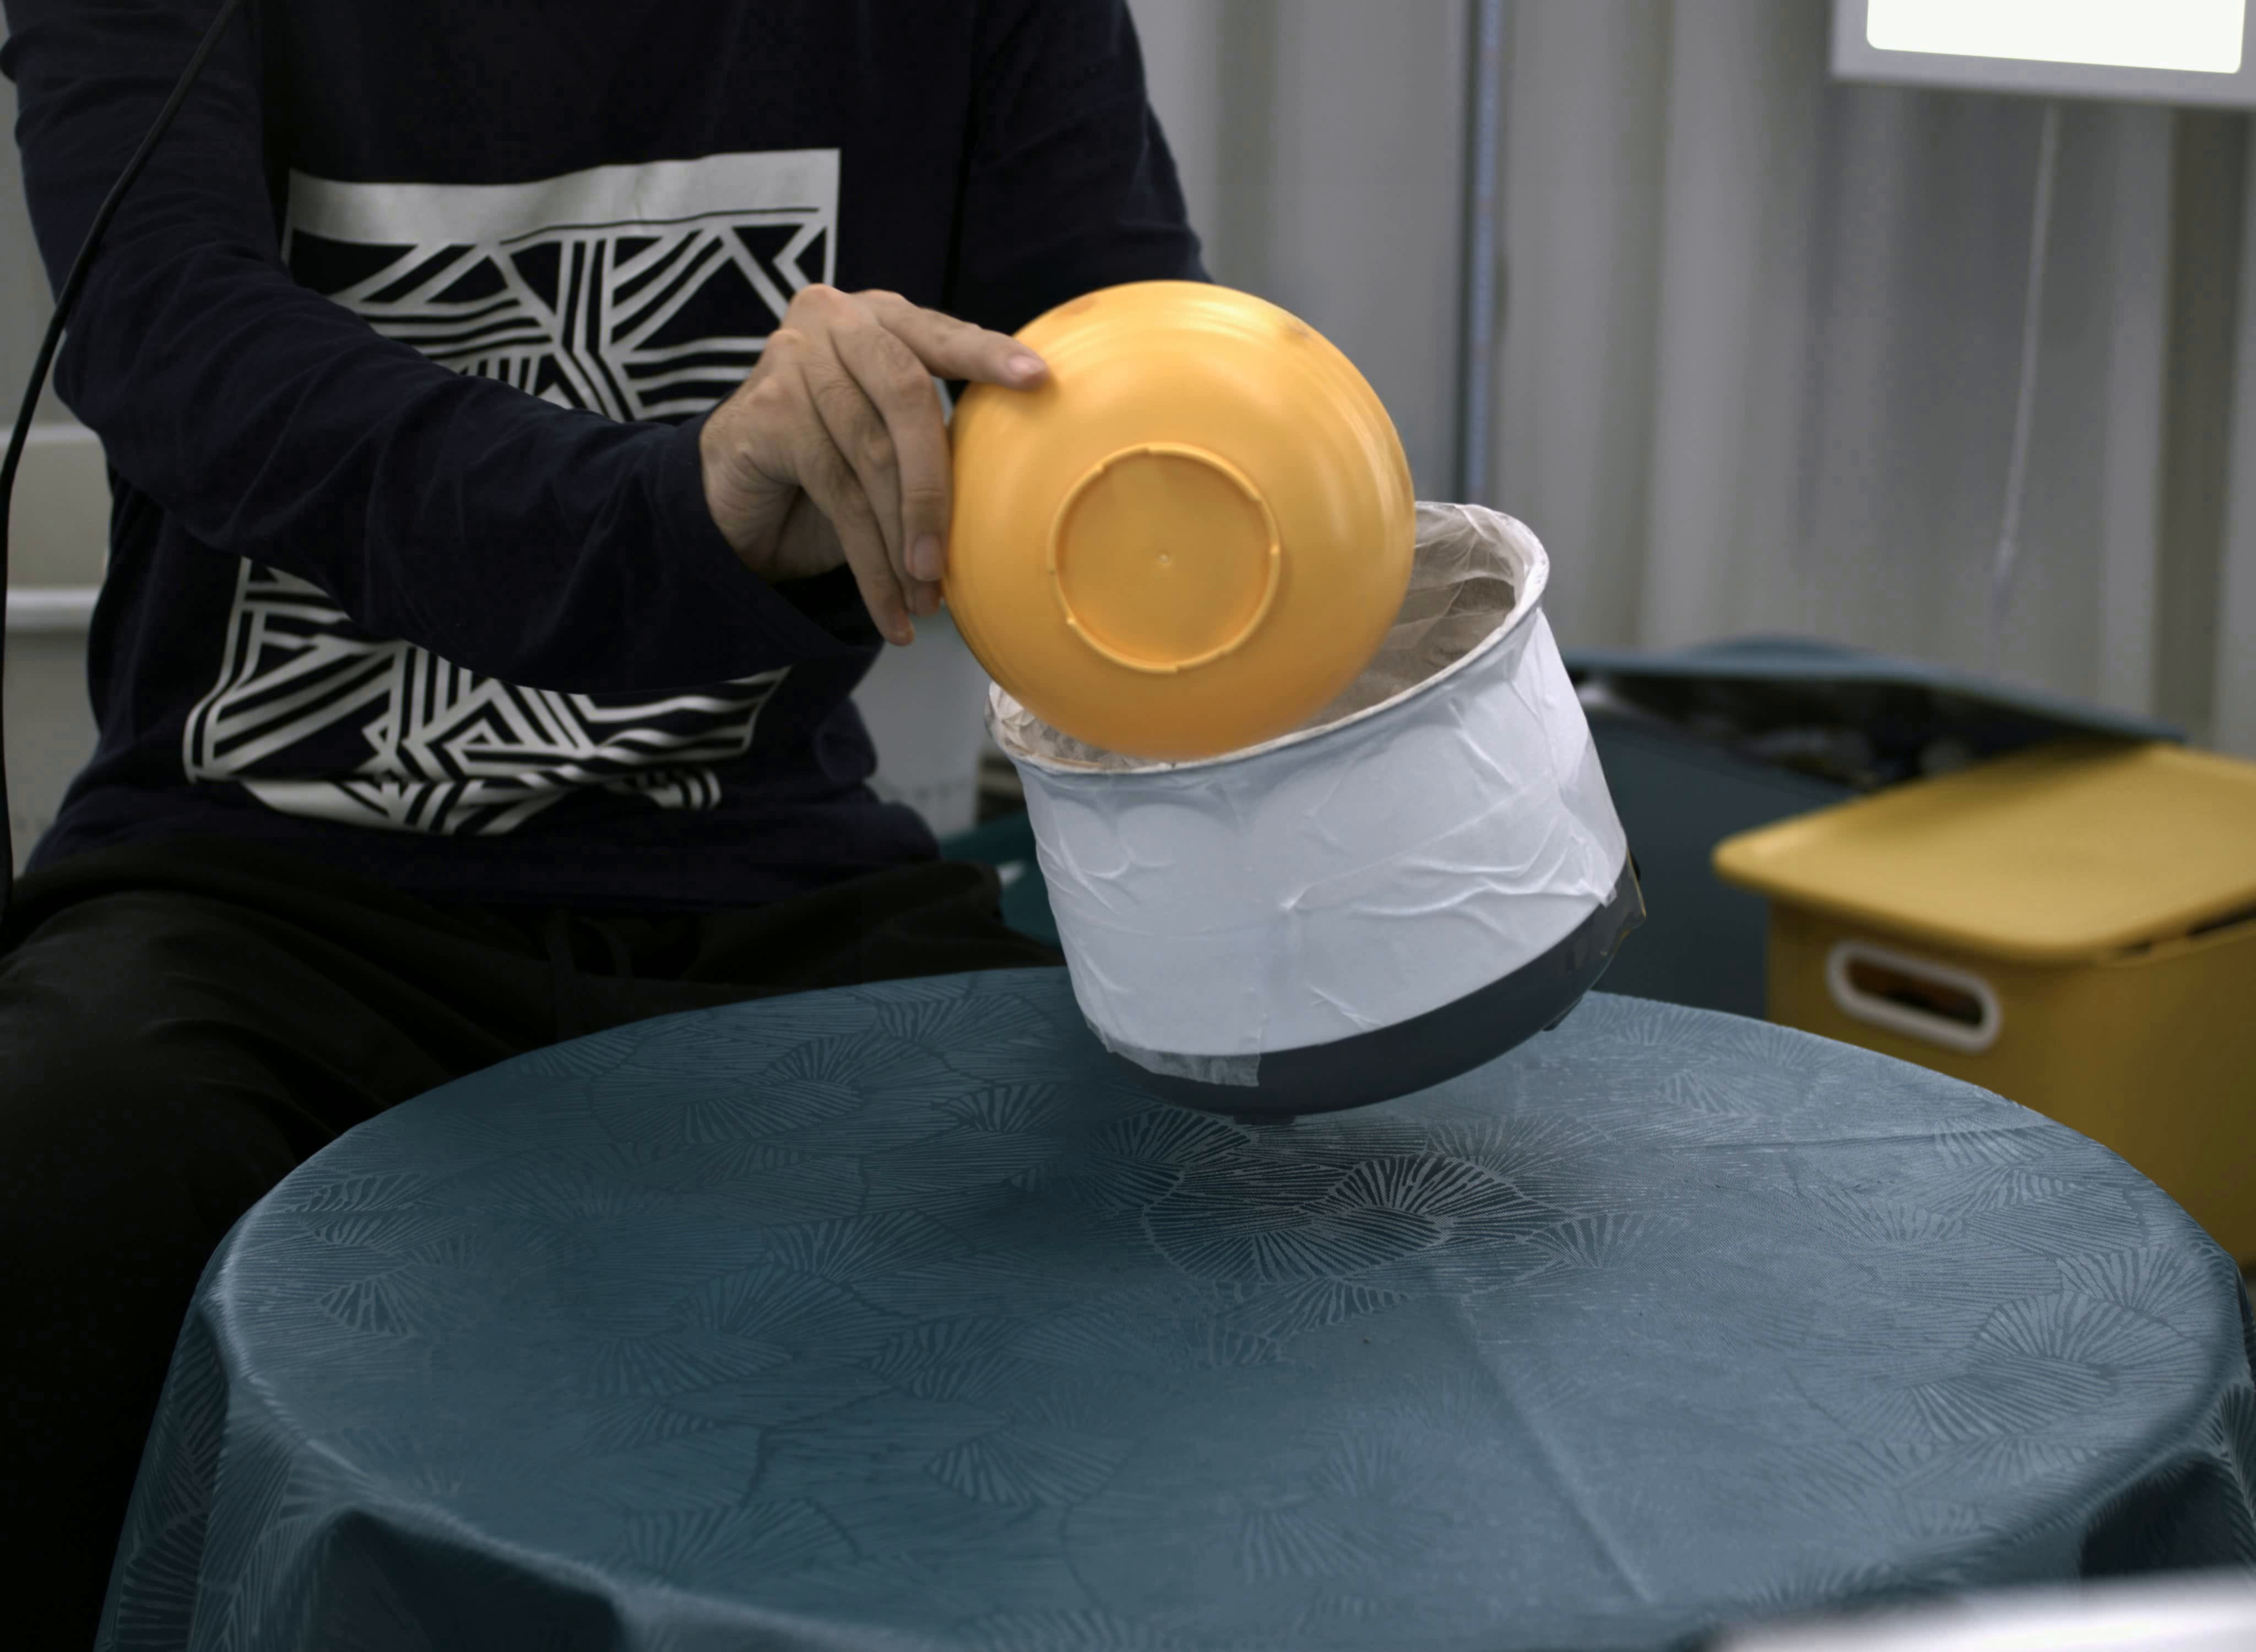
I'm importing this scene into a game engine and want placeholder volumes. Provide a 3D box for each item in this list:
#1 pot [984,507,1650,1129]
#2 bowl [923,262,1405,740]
[{"bbox_3d":[0.054,-0.010,1.631,0.178,0.138,0.231,-20,22,-5],"label":"pot"},{"bbox_3d":[0.007,-0.086,1.528,0.144,0.146,0.060,2,19,5],"label":"bowl"}]
